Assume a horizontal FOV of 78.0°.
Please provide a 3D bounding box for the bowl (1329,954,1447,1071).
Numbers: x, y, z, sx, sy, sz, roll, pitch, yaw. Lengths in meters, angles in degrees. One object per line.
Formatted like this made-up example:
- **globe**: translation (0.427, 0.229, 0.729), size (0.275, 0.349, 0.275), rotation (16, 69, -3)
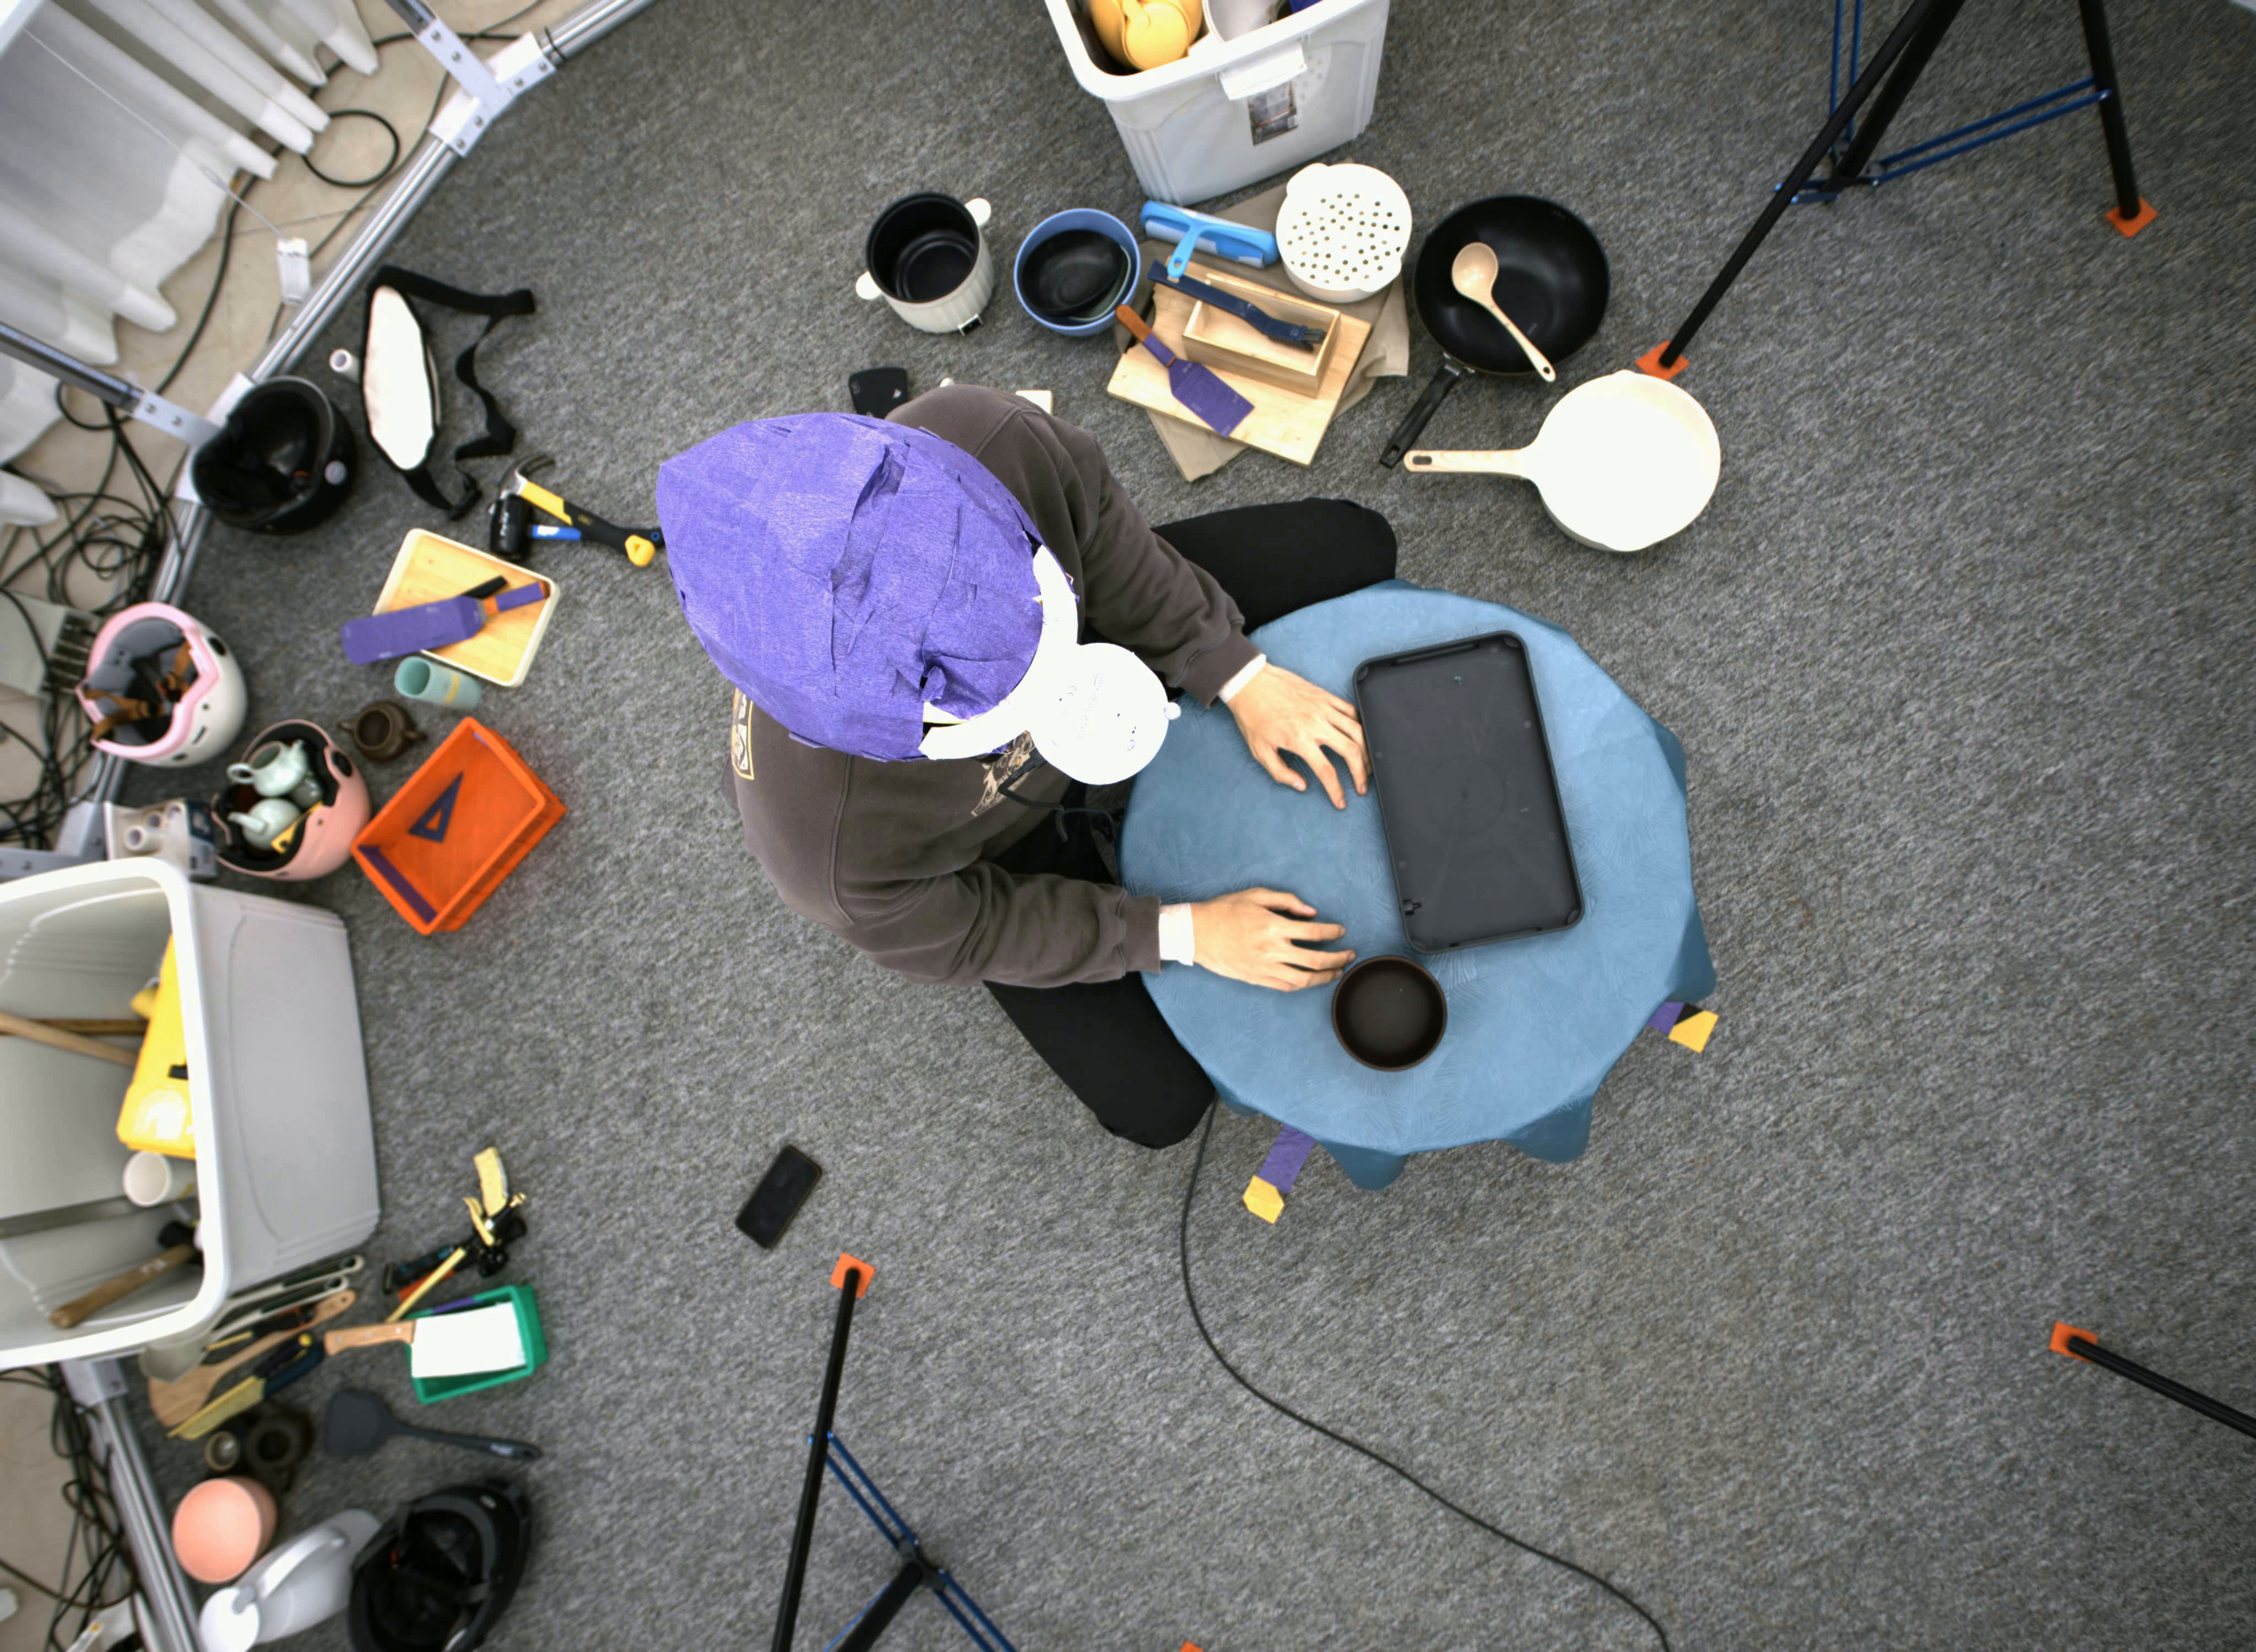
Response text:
- **bowl**: translation (0.266, 0.189, 1.416), size (0.118, 0.070, 0.117), rotation (-1, 86, 12)

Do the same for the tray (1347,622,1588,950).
- **tray**: translation (0.351, -0.042, 1.430), size (0.185, 0.037, 0.316), rotation (-13, 85, 10)
